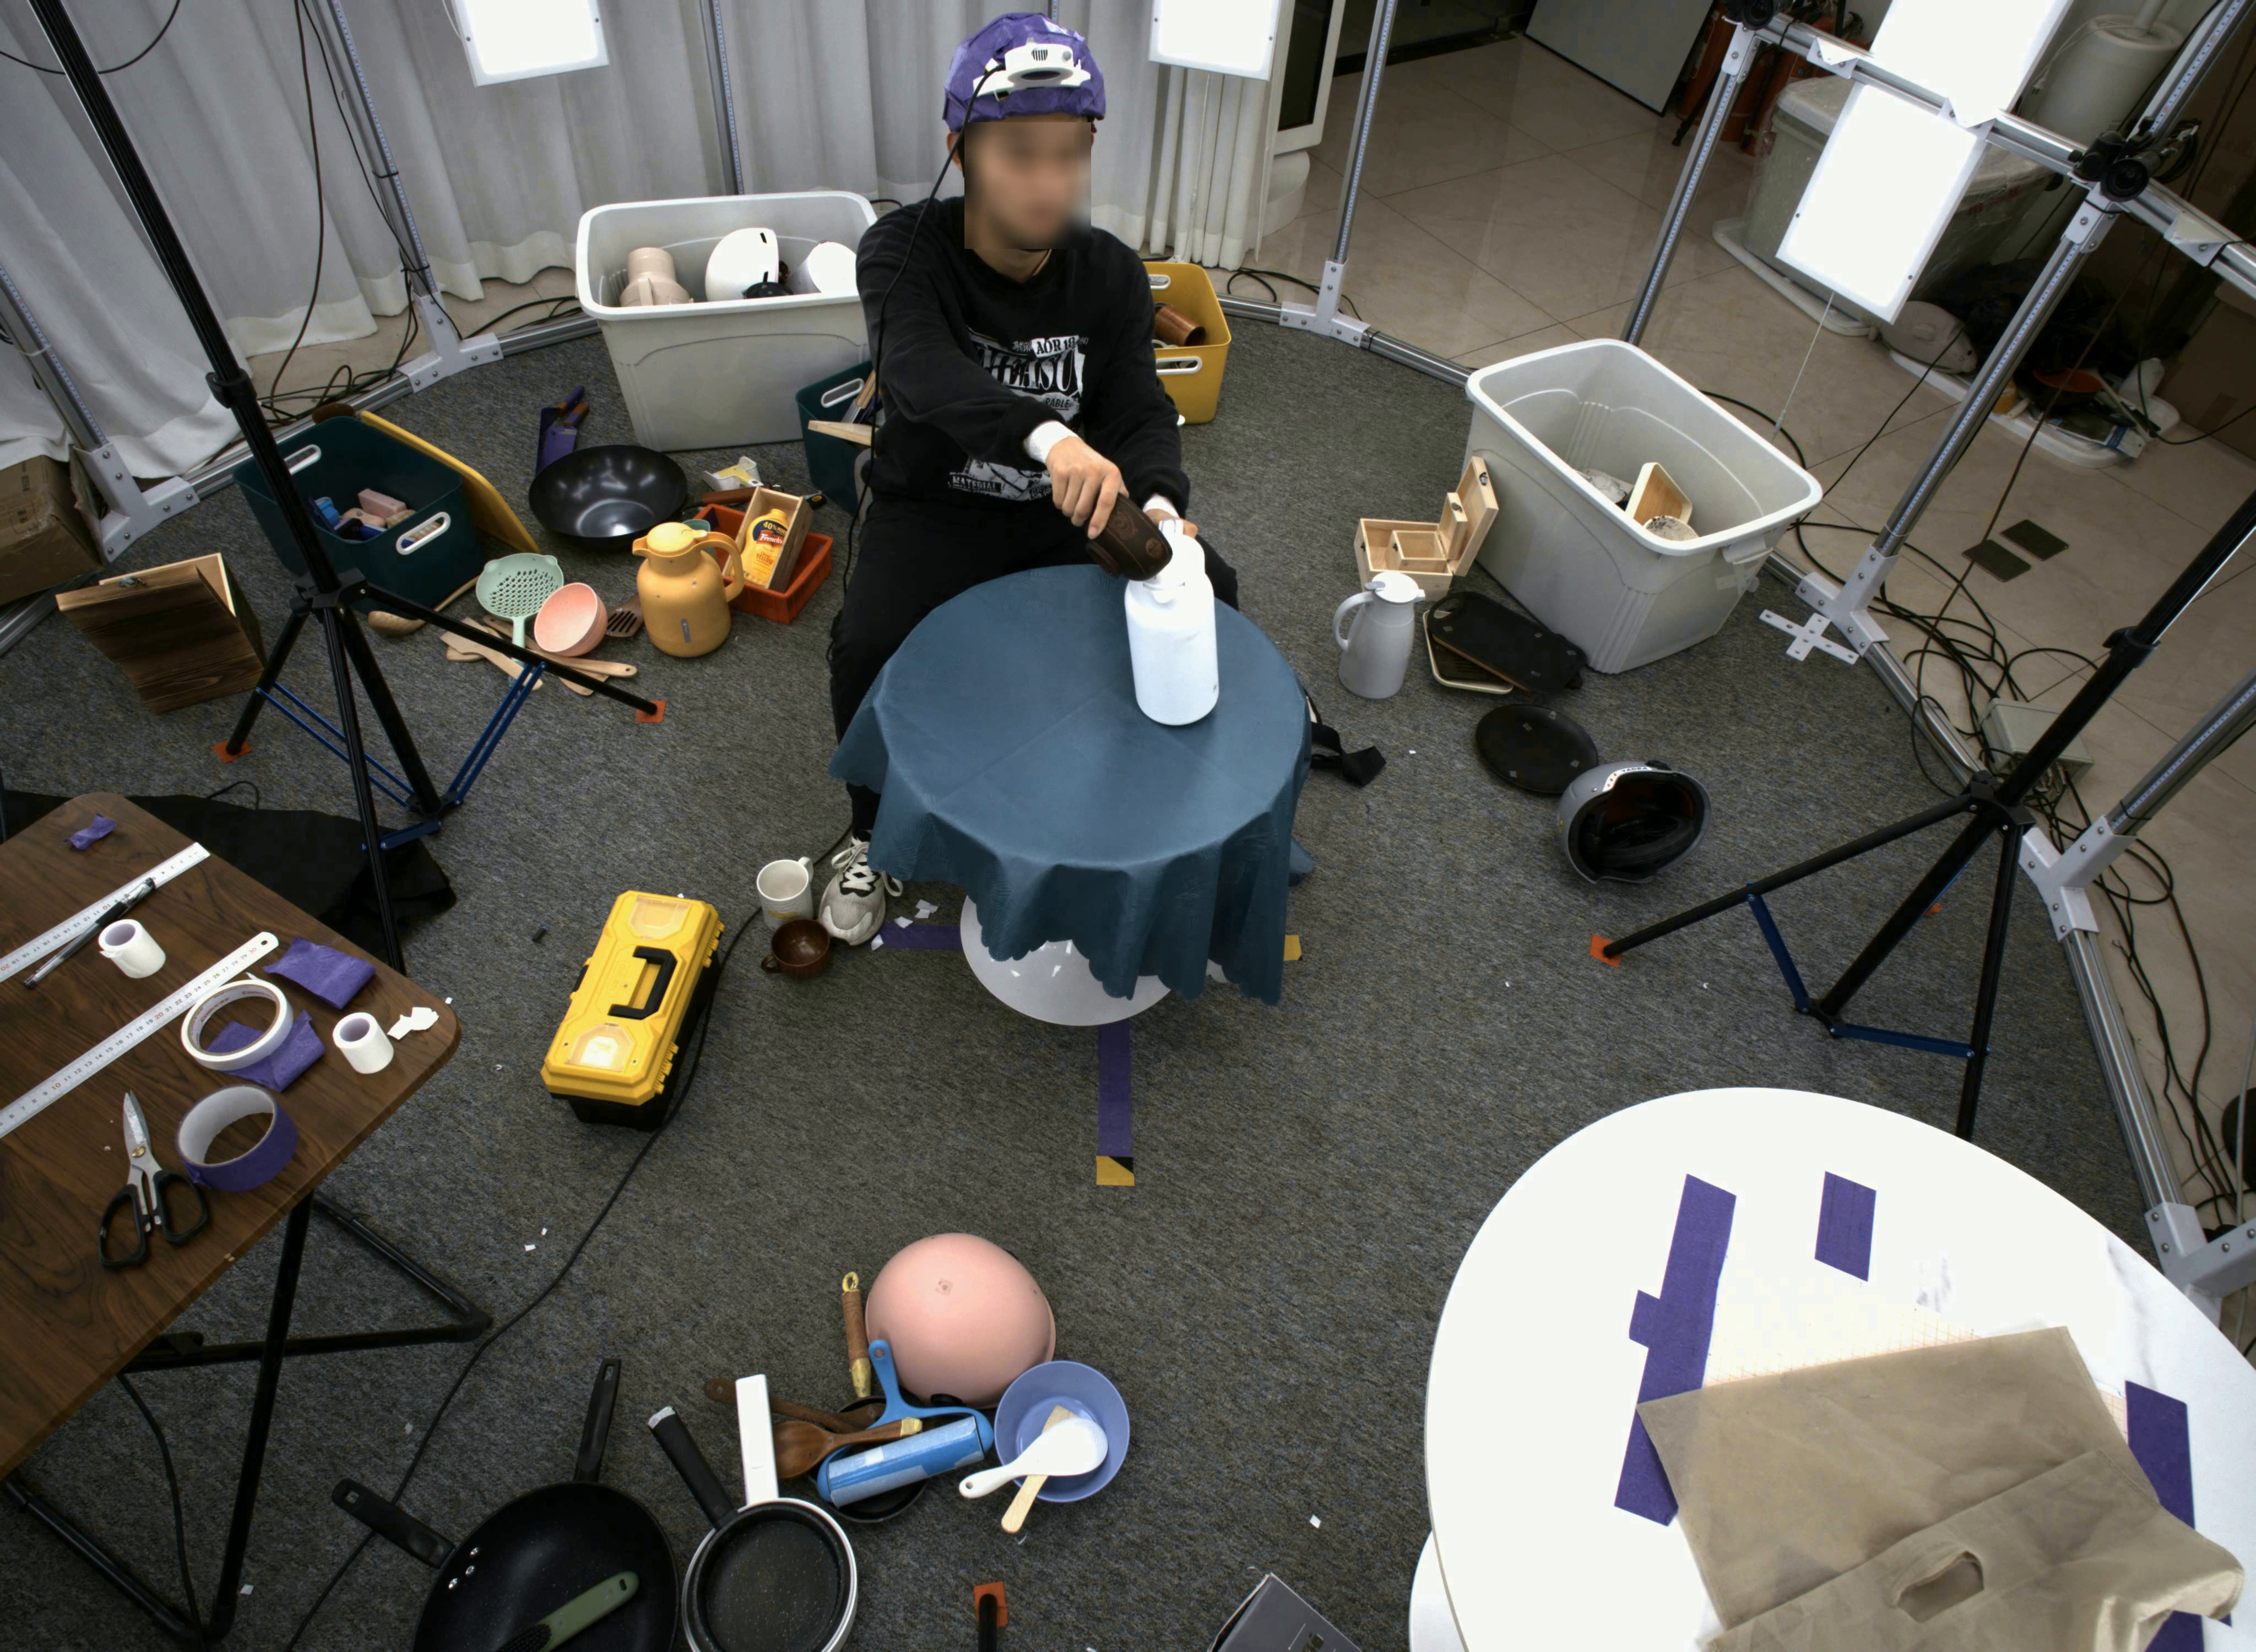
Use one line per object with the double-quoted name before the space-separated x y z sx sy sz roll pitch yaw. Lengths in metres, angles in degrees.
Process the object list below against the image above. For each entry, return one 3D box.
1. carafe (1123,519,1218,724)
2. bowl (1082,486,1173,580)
"carafe" 0.058 -0.276 1.731 0.124 0.262 0.177 -2 53 8
"bowl" -0.010 -0.344 1.554 0.070 0.116 0.120 -46 62 -2
